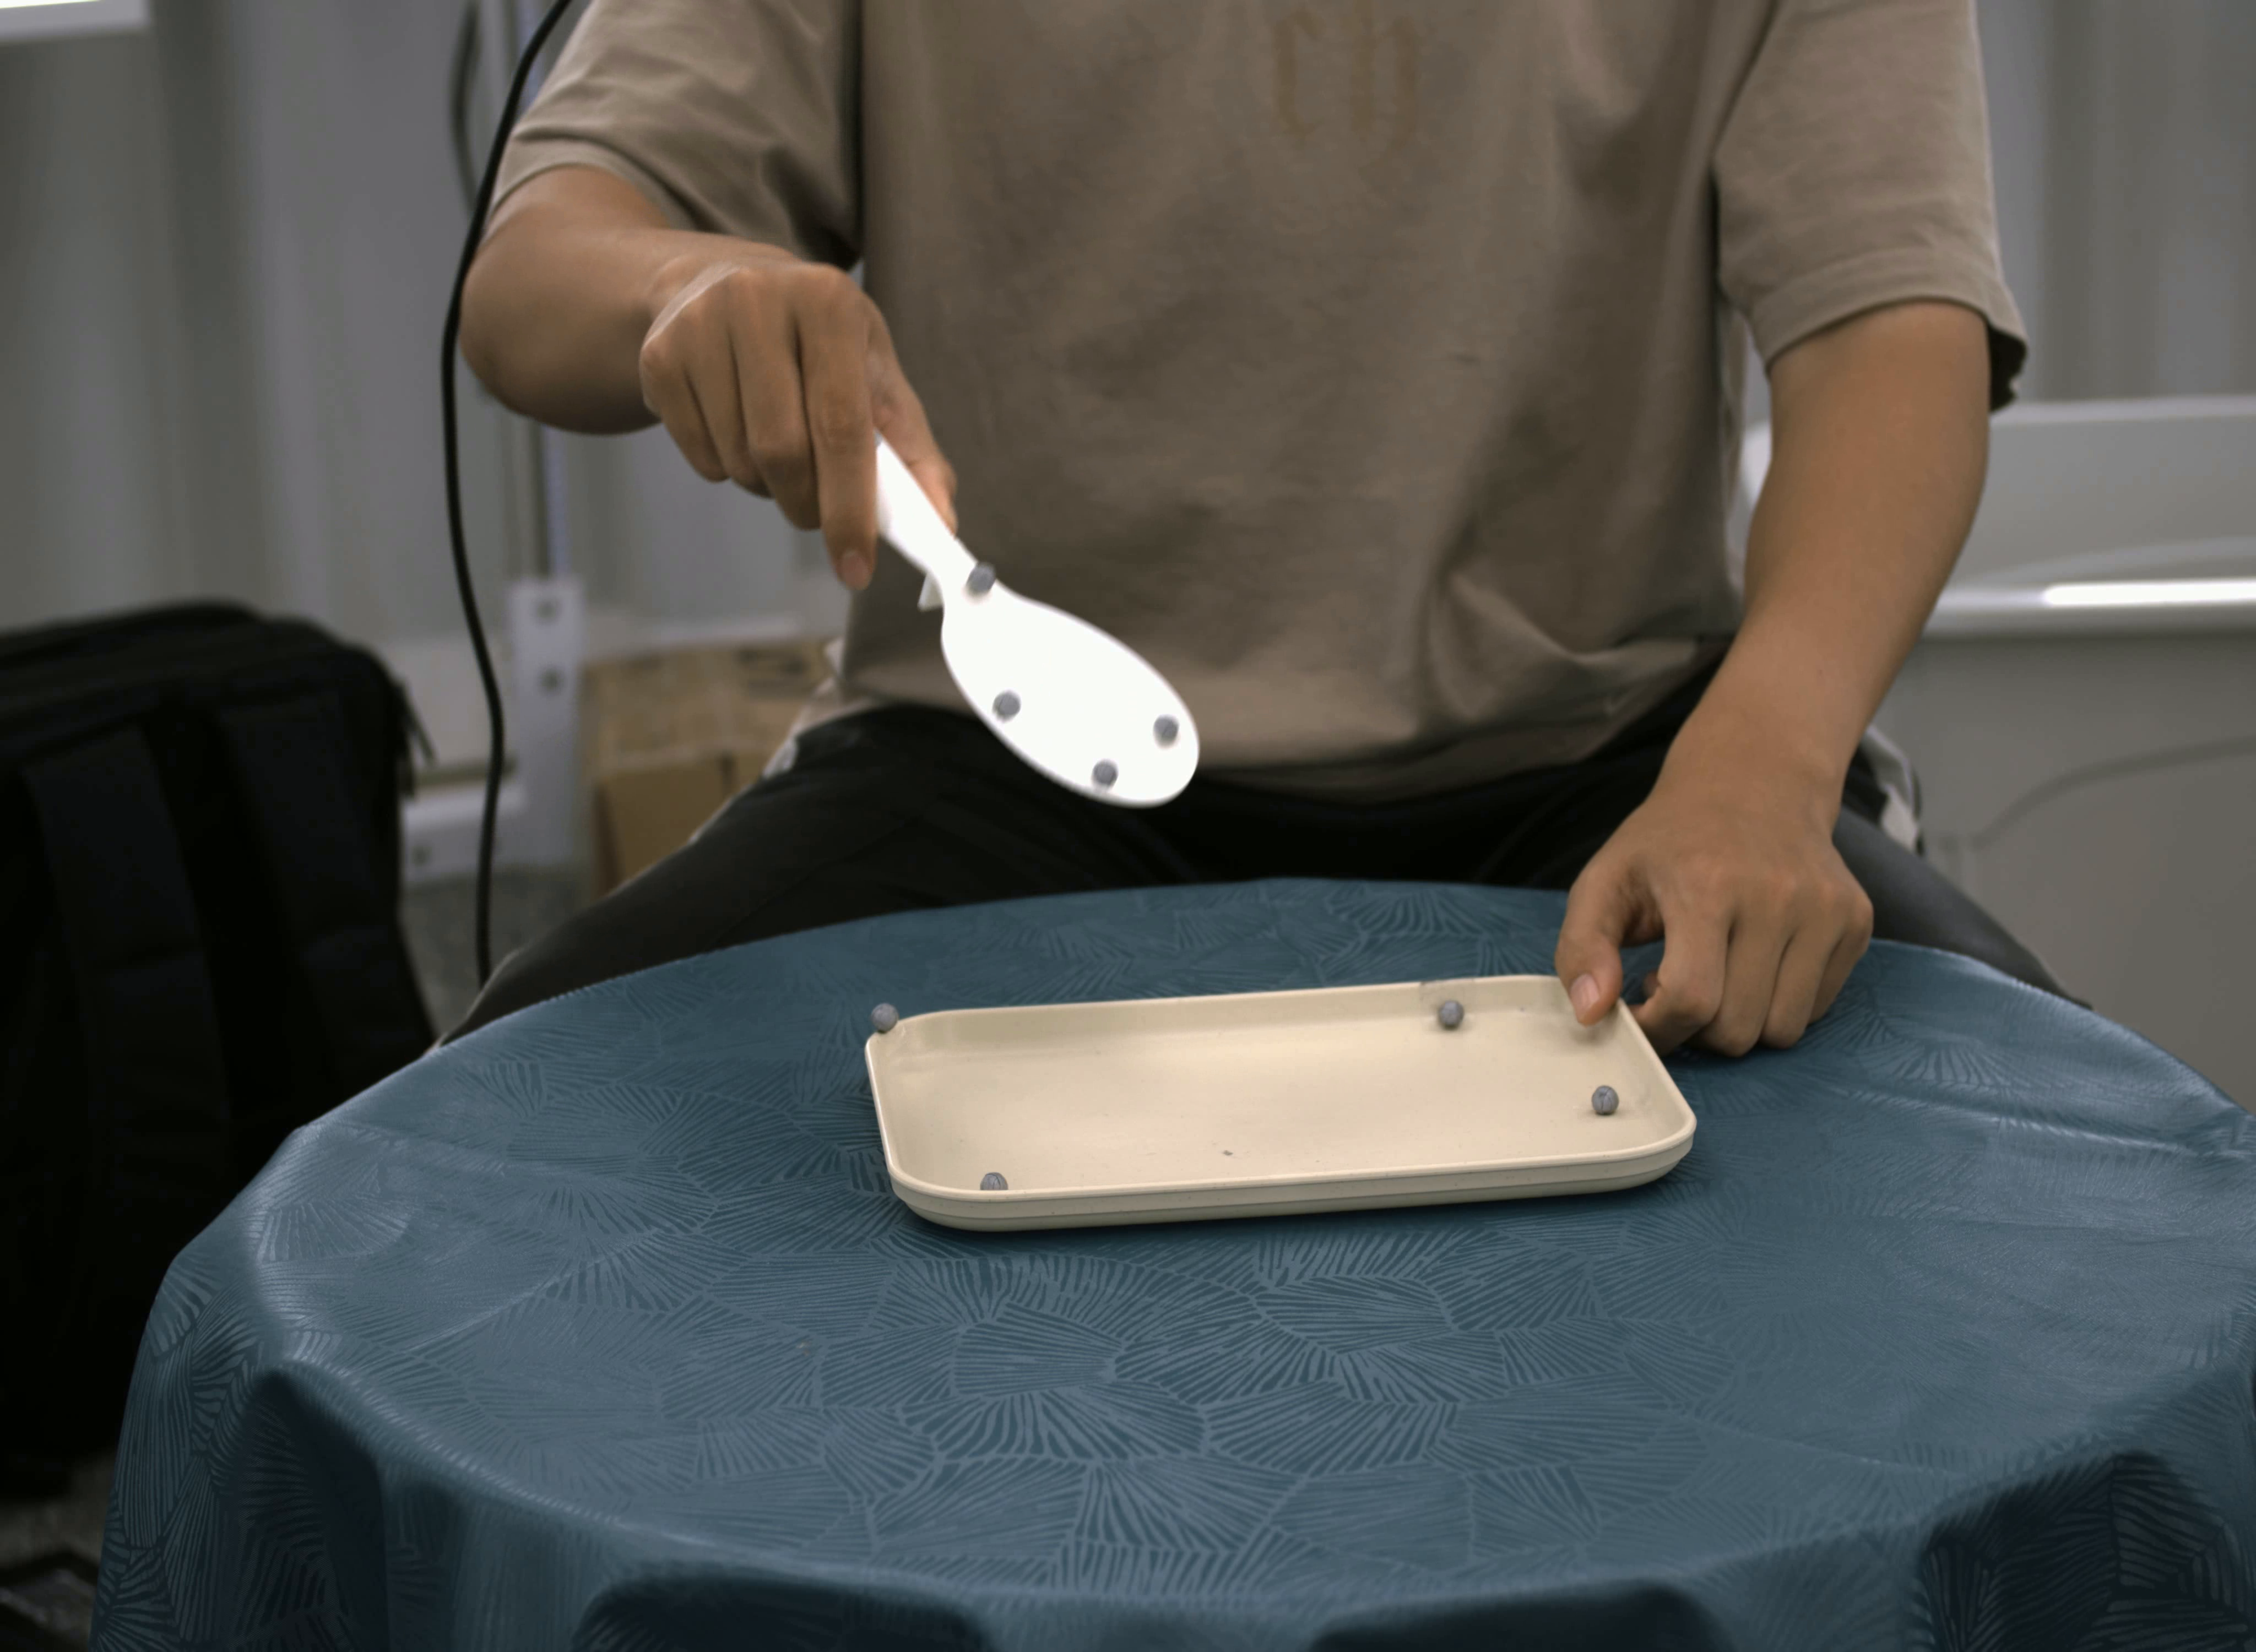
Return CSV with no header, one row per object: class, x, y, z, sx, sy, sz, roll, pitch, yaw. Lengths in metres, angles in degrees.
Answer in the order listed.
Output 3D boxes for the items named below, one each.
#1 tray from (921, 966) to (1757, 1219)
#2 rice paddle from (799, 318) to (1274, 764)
tray,0.060,0.081,1.598,0.238,0.017,0.172,-3,17,-4
rice paddle,-0.028,-0.084,1.606,0.067,0.029,0.209,-15,47,-38
